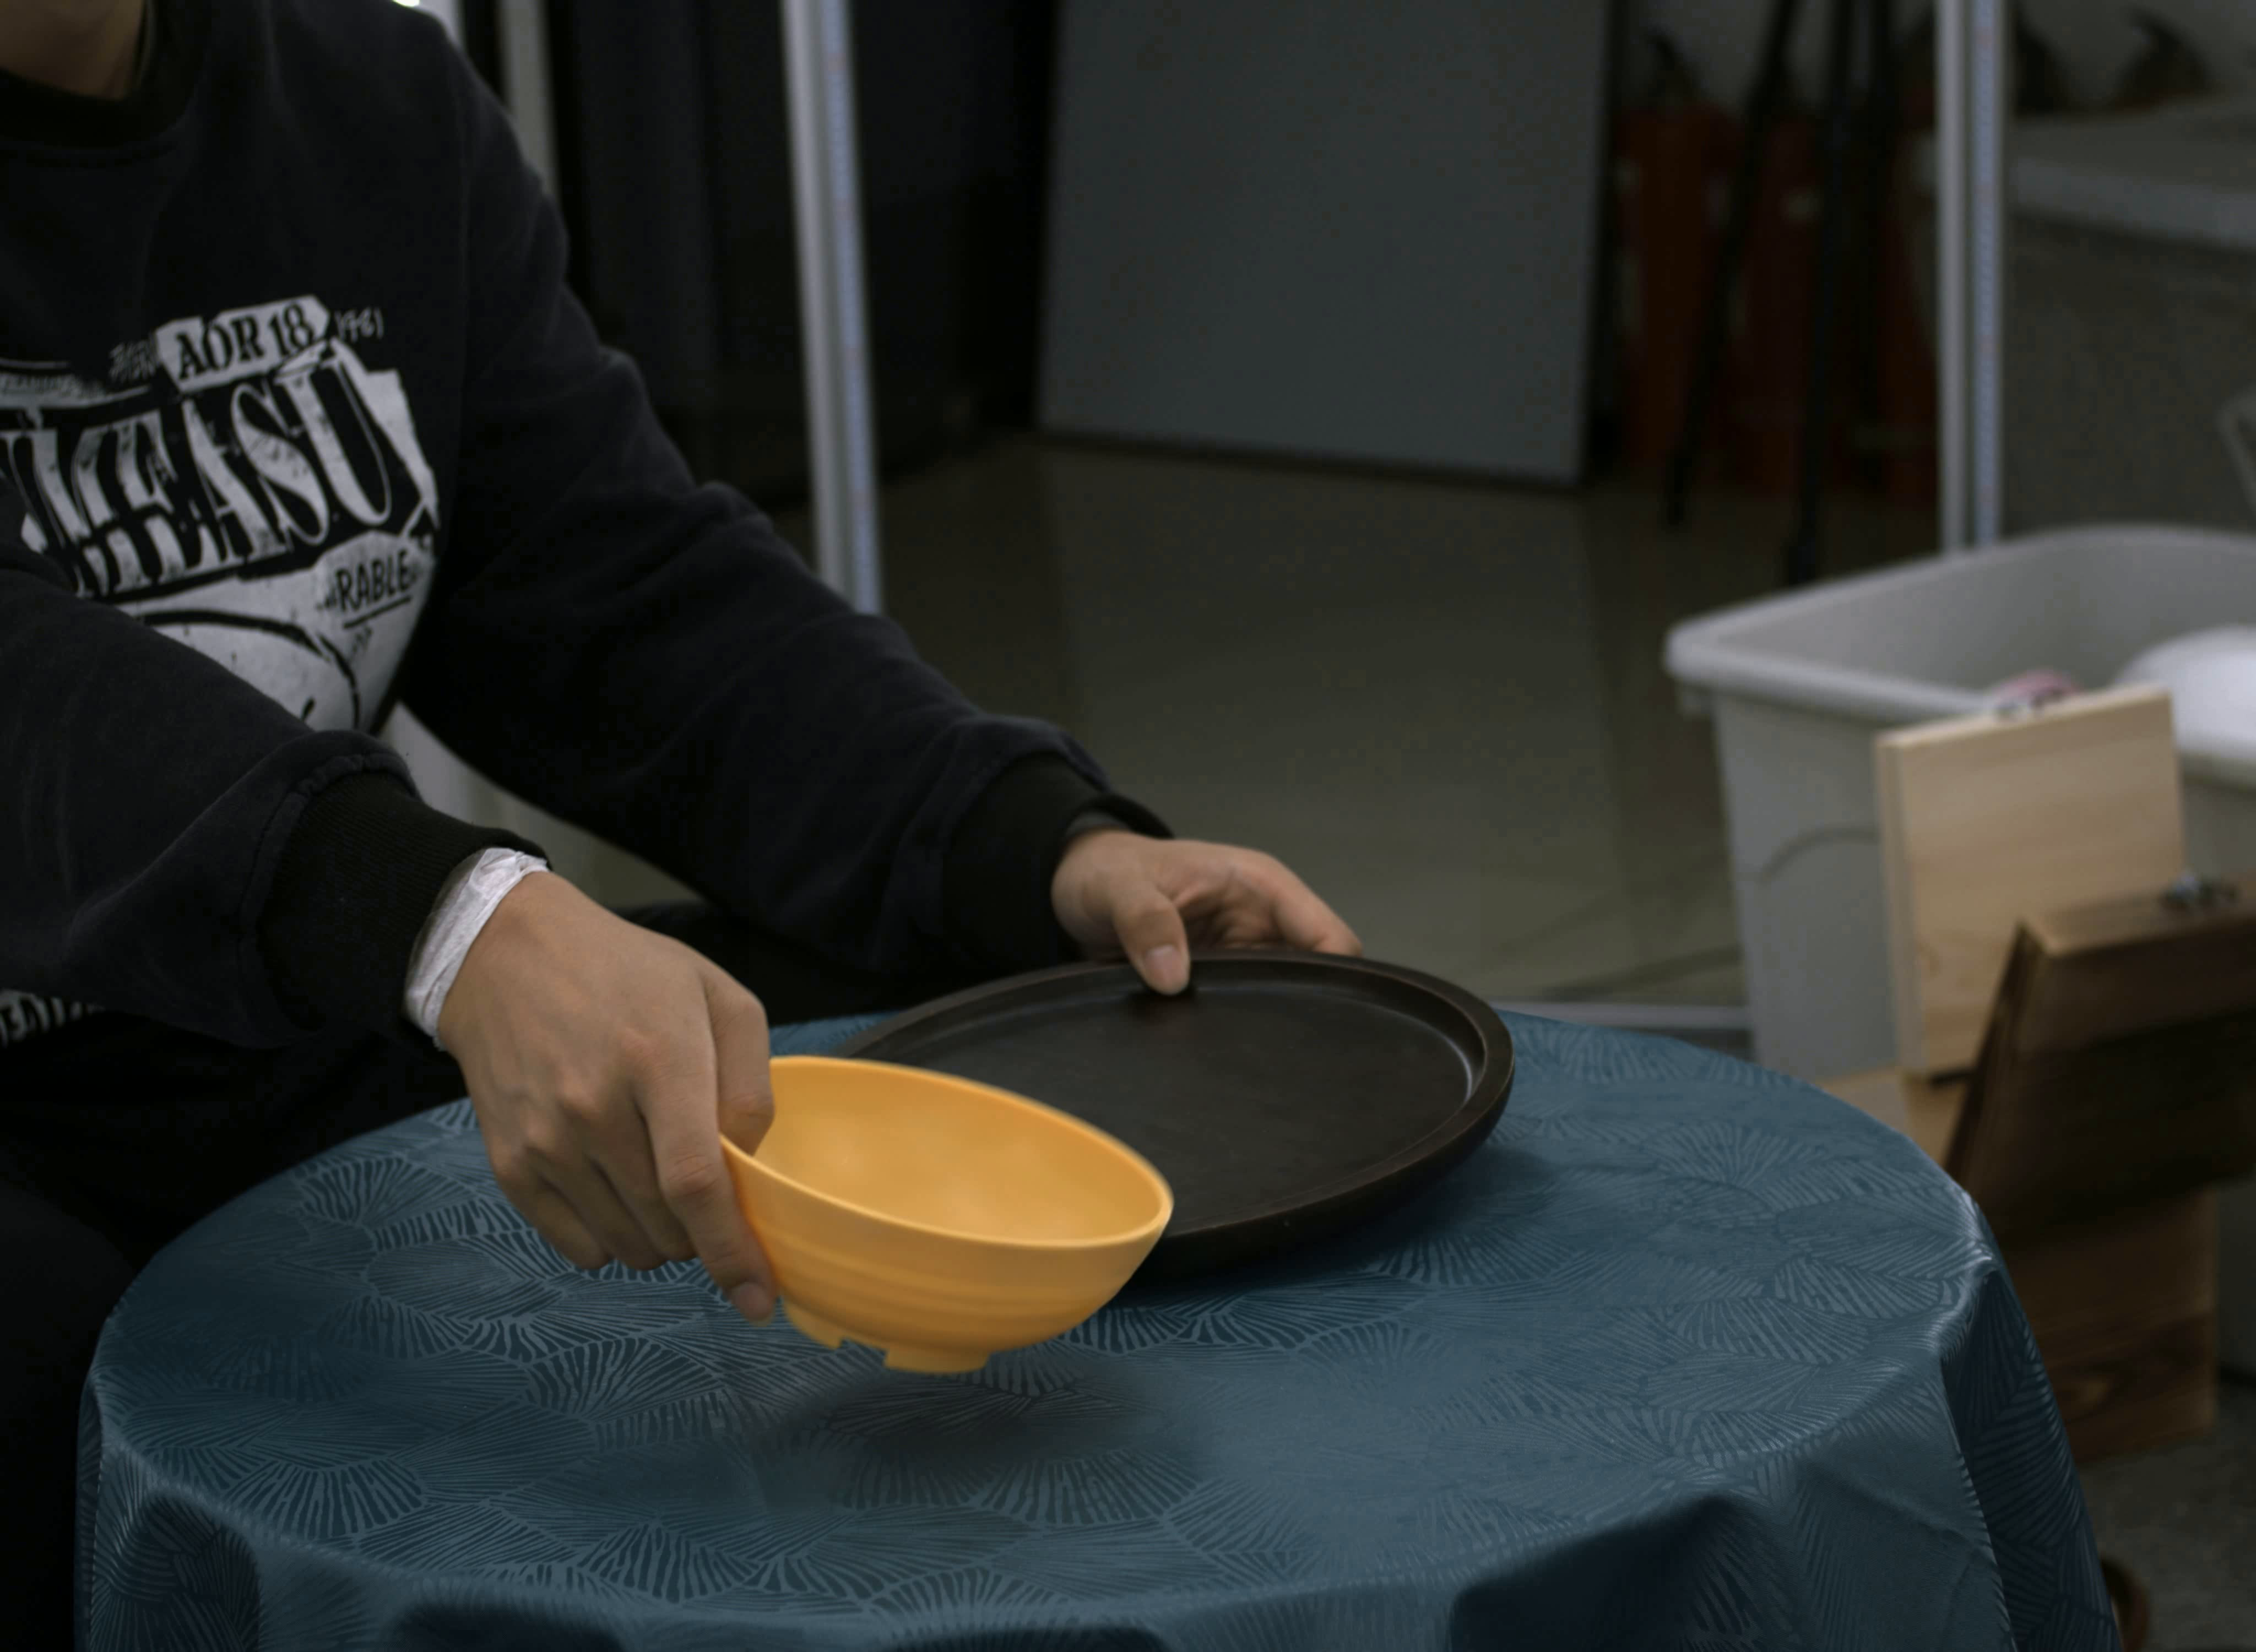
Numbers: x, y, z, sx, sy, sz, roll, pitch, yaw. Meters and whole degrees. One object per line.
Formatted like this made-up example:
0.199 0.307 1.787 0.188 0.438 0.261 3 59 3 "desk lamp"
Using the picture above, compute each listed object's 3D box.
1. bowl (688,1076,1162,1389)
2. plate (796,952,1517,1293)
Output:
-0.065 0.124 1.576 0.143 0.061 0.145 14 11 -4 "bowl"
0.005 0.096 1.776 0.252 0.029 0.255 -9 18 2 "plate"
